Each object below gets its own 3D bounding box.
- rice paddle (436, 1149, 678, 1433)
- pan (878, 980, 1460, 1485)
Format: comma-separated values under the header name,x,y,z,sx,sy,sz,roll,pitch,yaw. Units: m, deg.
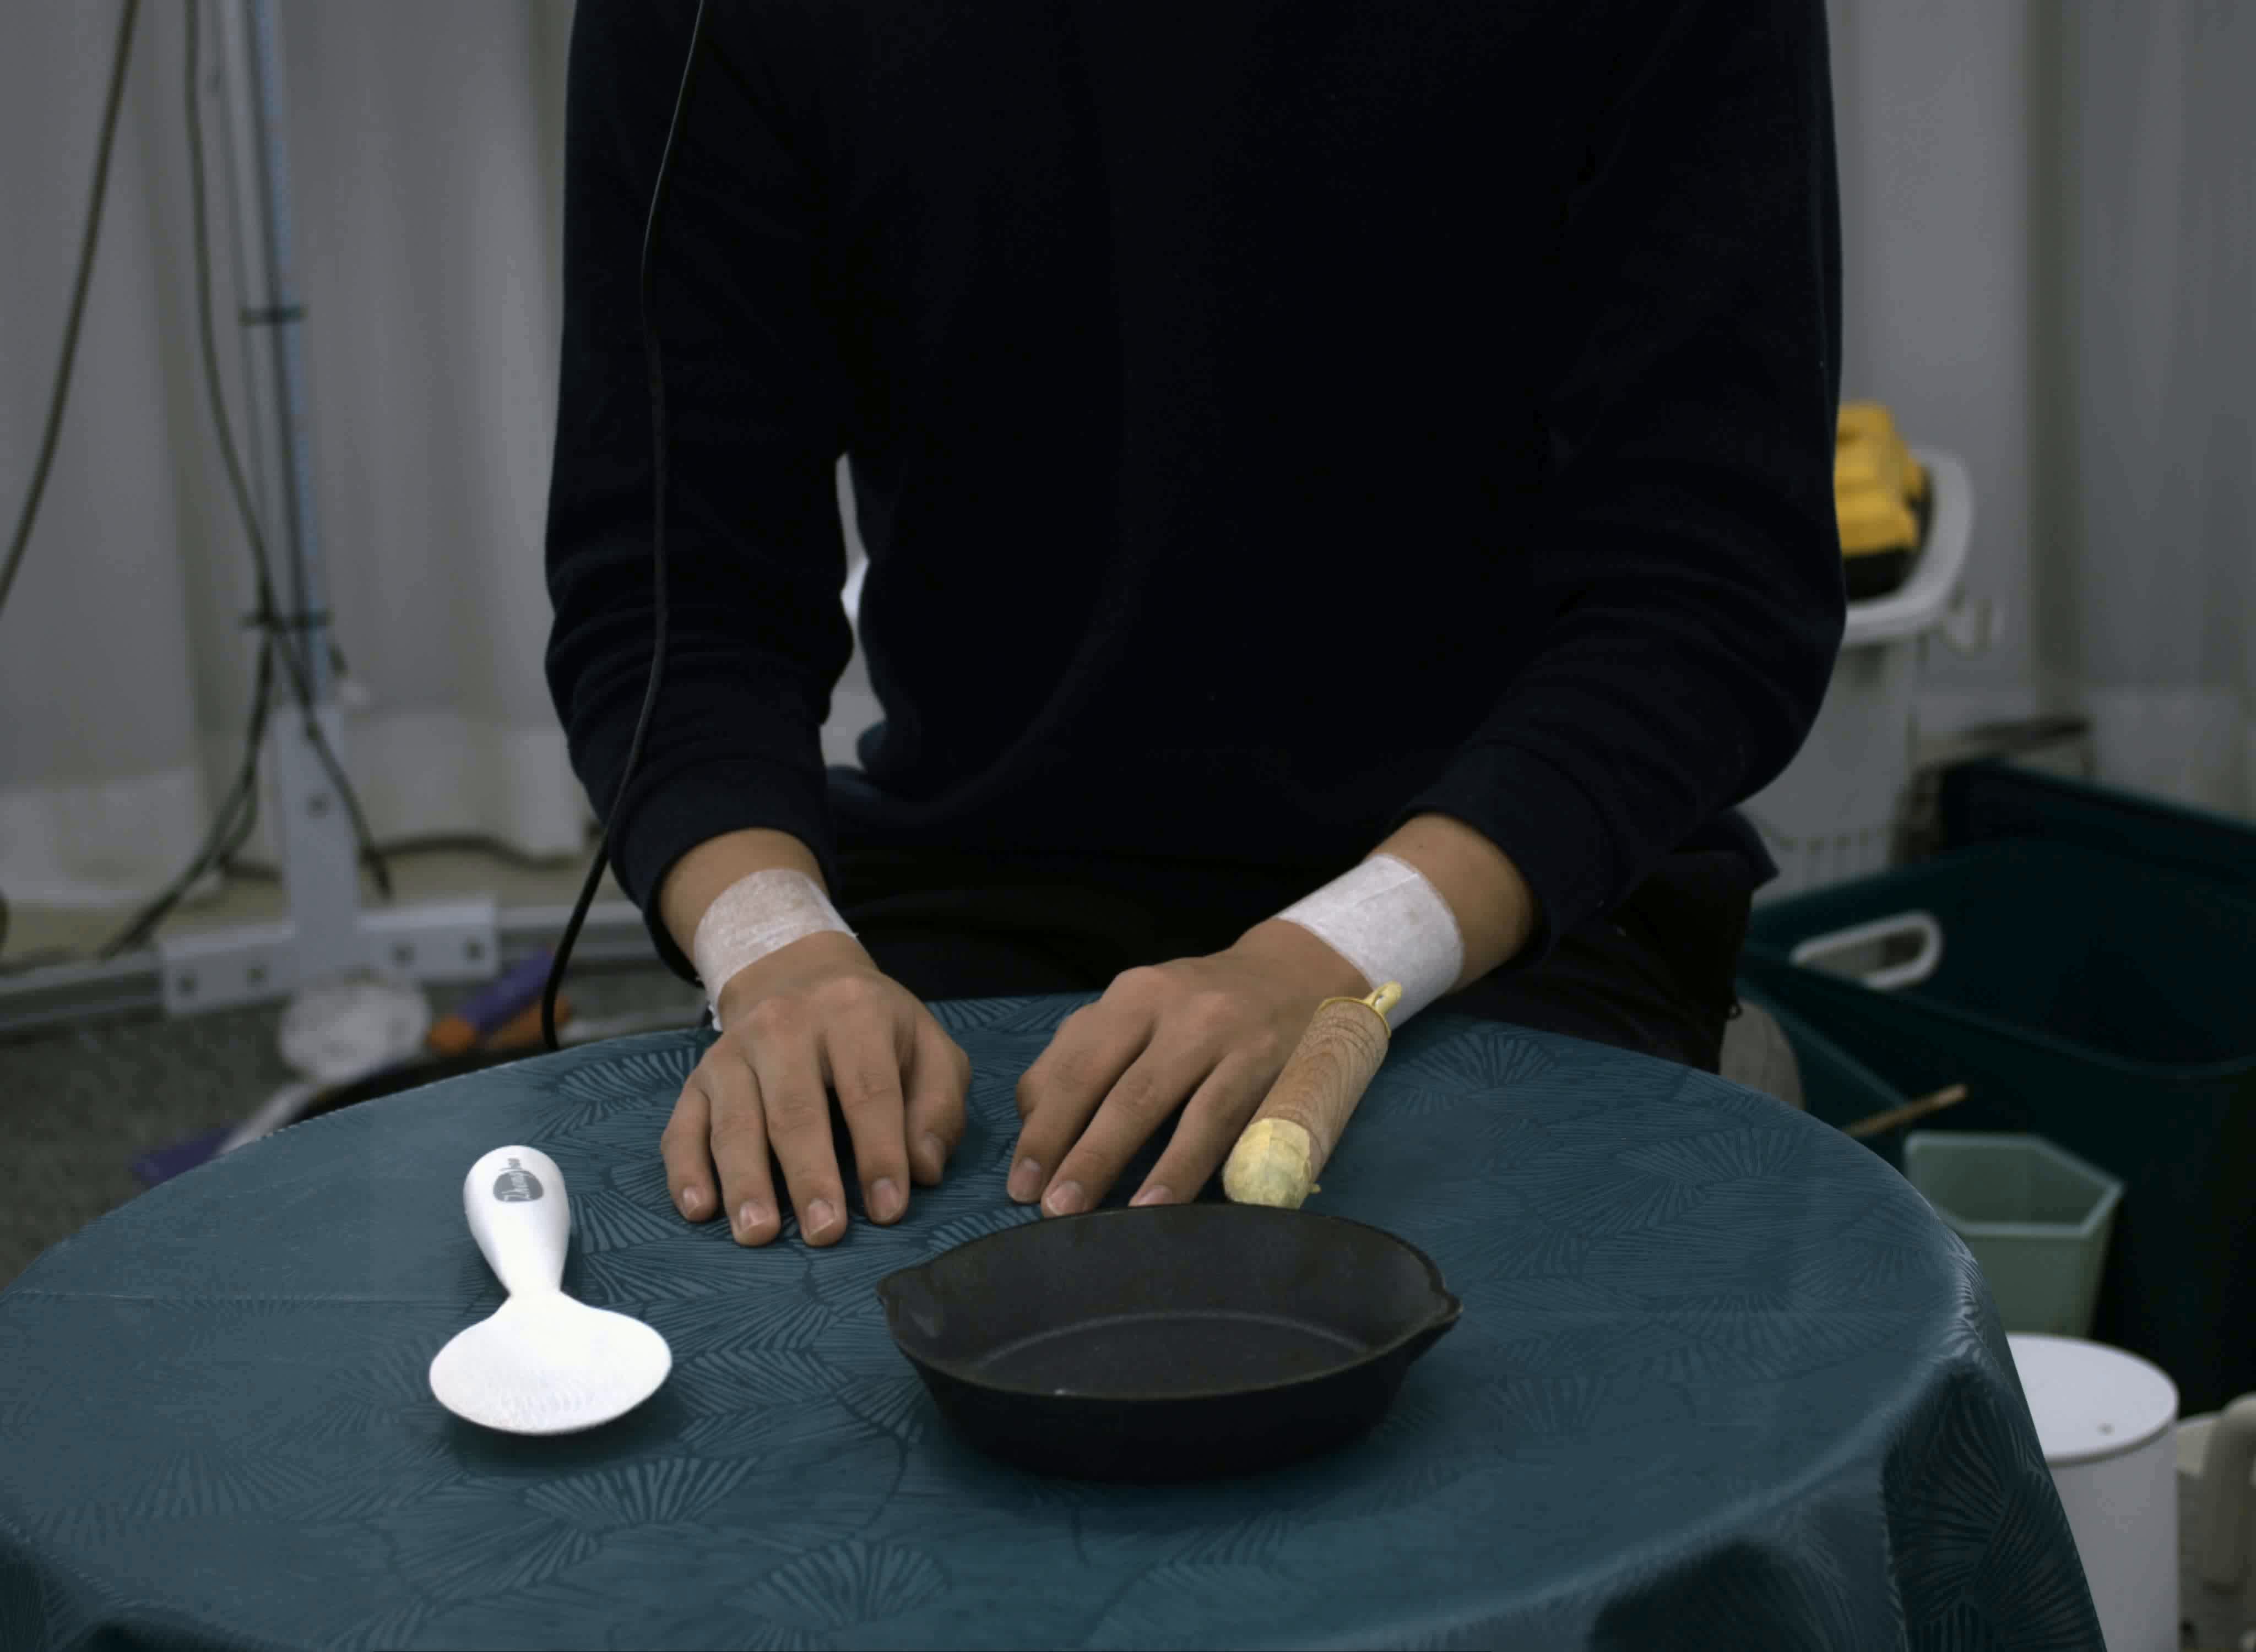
name,x,y,z,sx,sy,sz,roll,pitch,yaw
rice paddle,-0.172,0.139,1.605,0.068,0.029,0.207,-7,15,-9
pan,0.036,0.116,1.607,0.169,0.049,0.325,2,17,18
